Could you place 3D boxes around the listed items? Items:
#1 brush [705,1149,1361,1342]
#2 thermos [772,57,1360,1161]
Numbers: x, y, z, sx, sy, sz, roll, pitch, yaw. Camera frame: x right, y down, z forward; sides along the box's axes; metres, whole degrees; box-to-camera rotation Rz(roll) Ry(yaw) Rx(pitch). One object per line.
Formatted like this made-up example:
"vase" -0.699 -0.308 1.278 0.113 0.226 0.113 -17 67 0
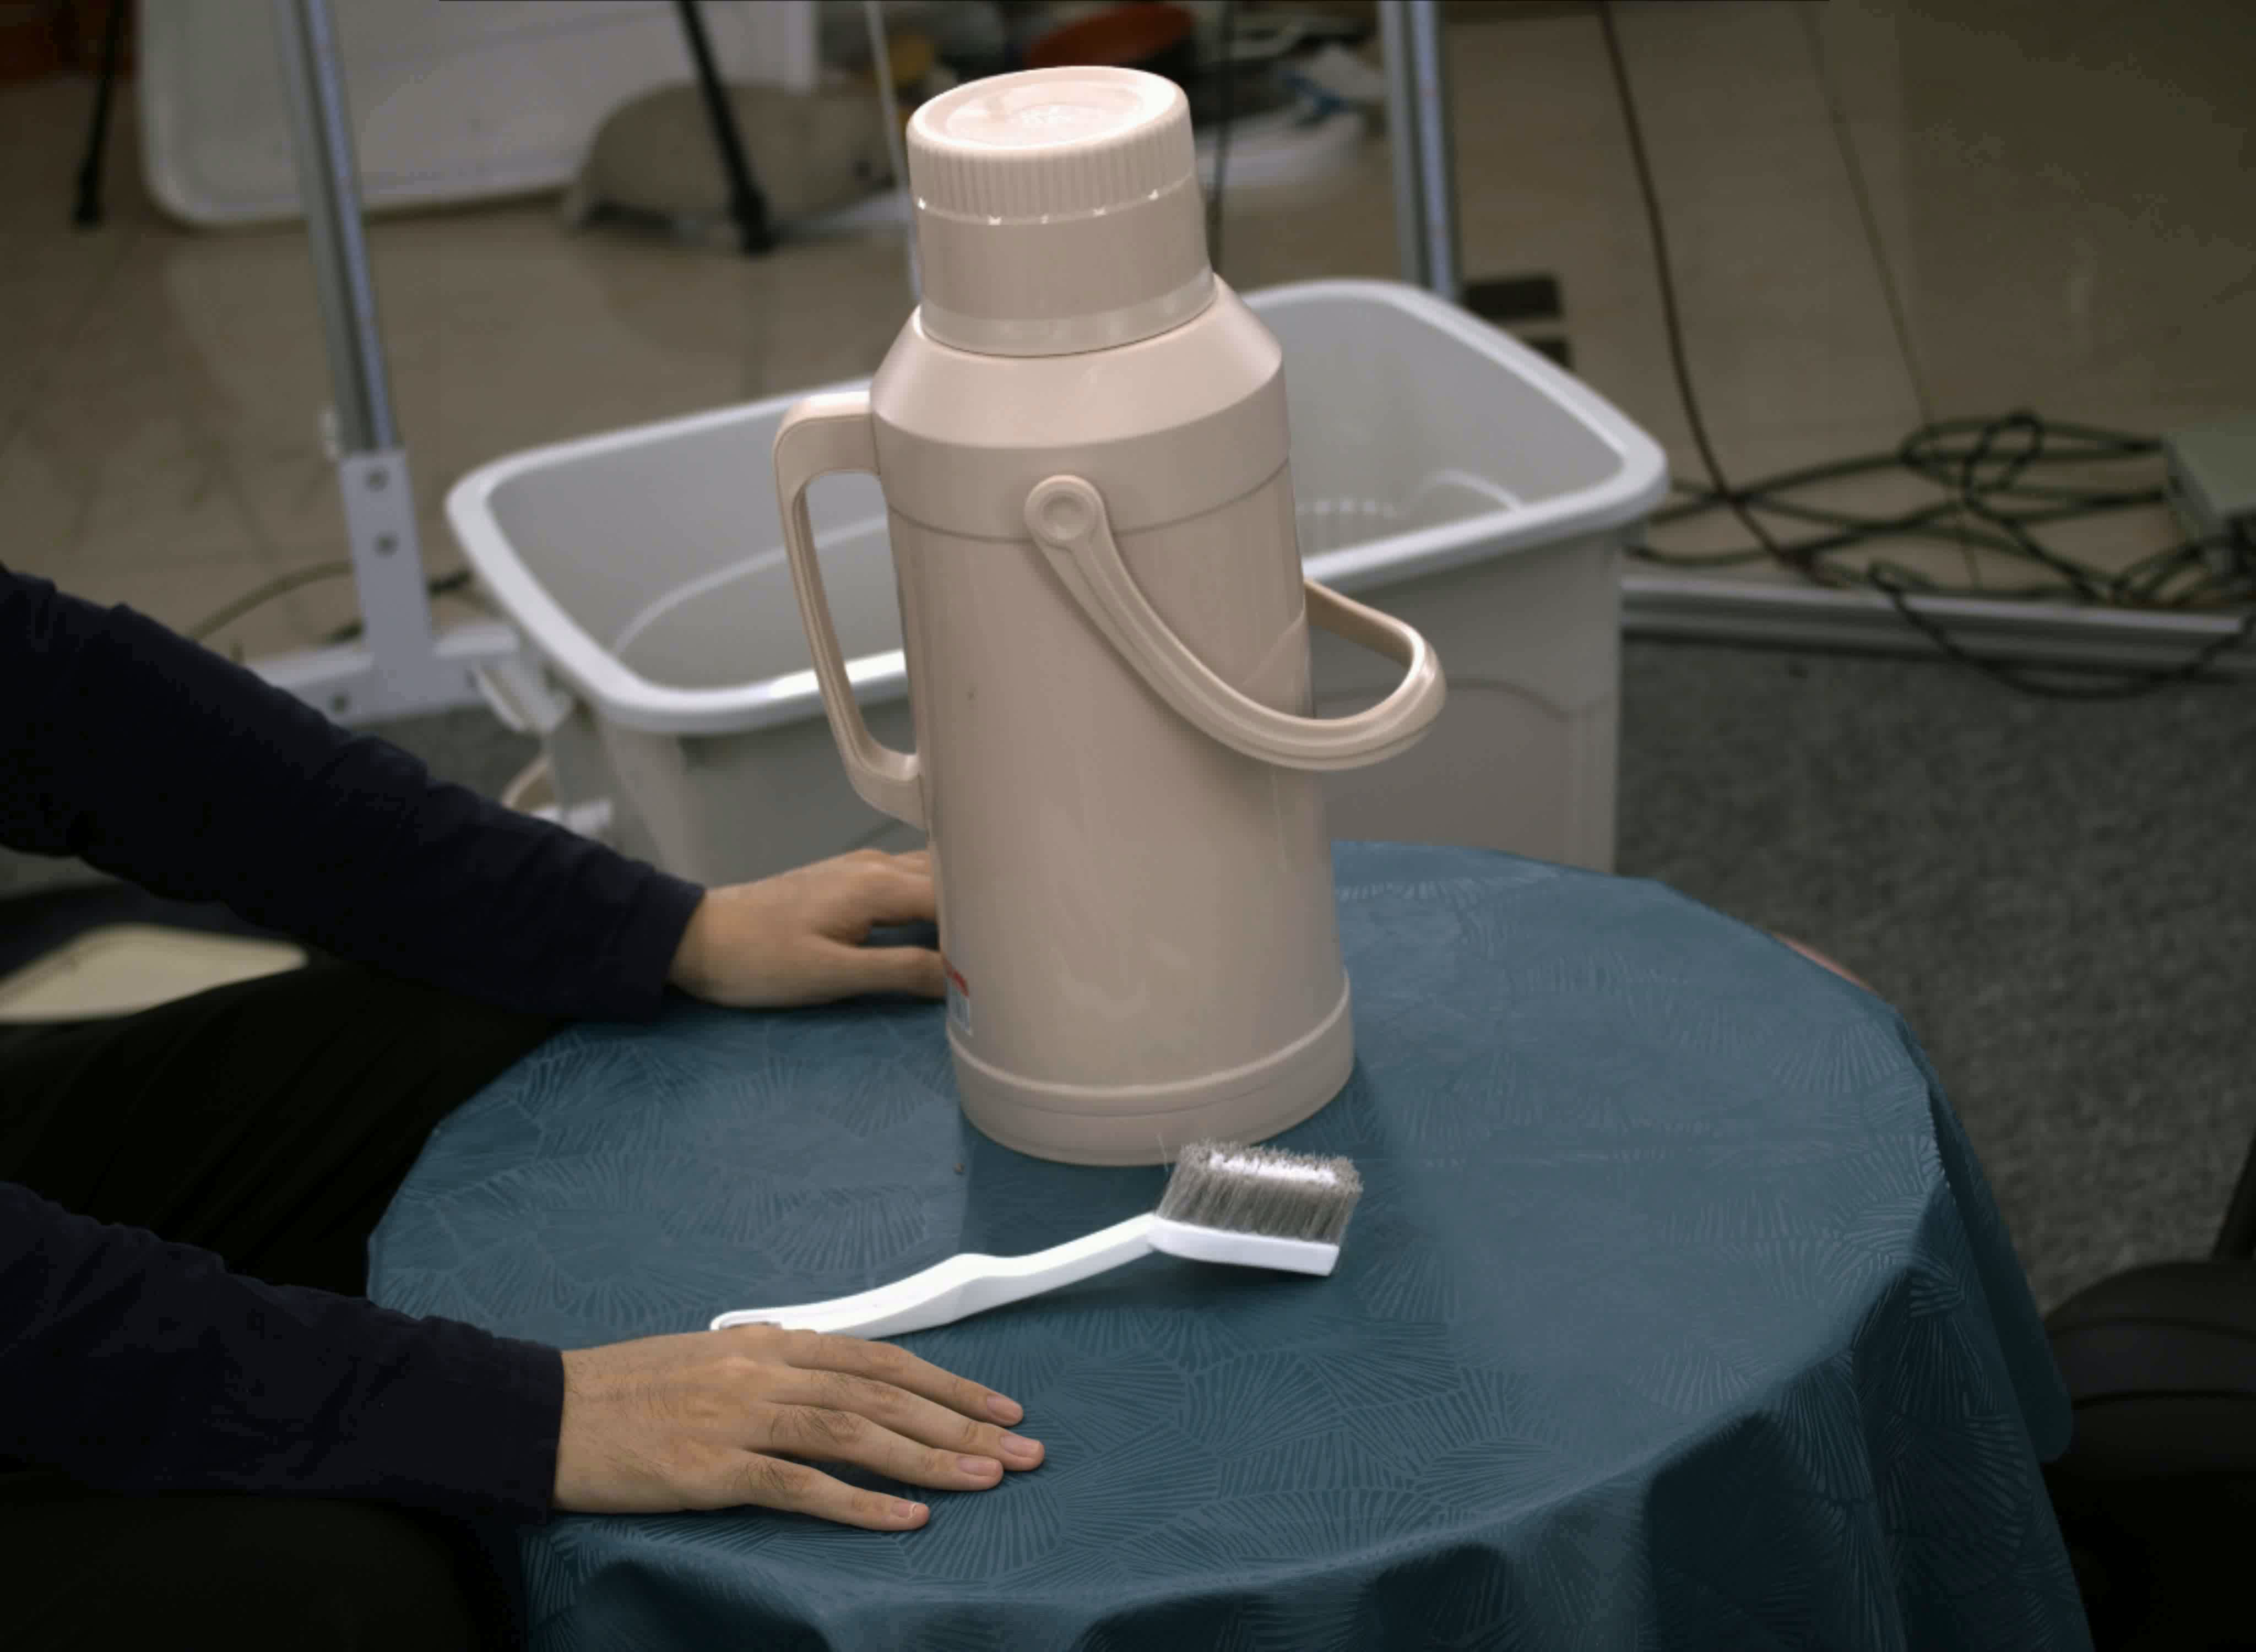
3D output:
"brush" -0.036 0.152 2.070 0.243 0.051 0.034 -7 30 0
"thermos" -0.022 -0.082 2.151 0.207 0.413 0.172 -4 28 5
